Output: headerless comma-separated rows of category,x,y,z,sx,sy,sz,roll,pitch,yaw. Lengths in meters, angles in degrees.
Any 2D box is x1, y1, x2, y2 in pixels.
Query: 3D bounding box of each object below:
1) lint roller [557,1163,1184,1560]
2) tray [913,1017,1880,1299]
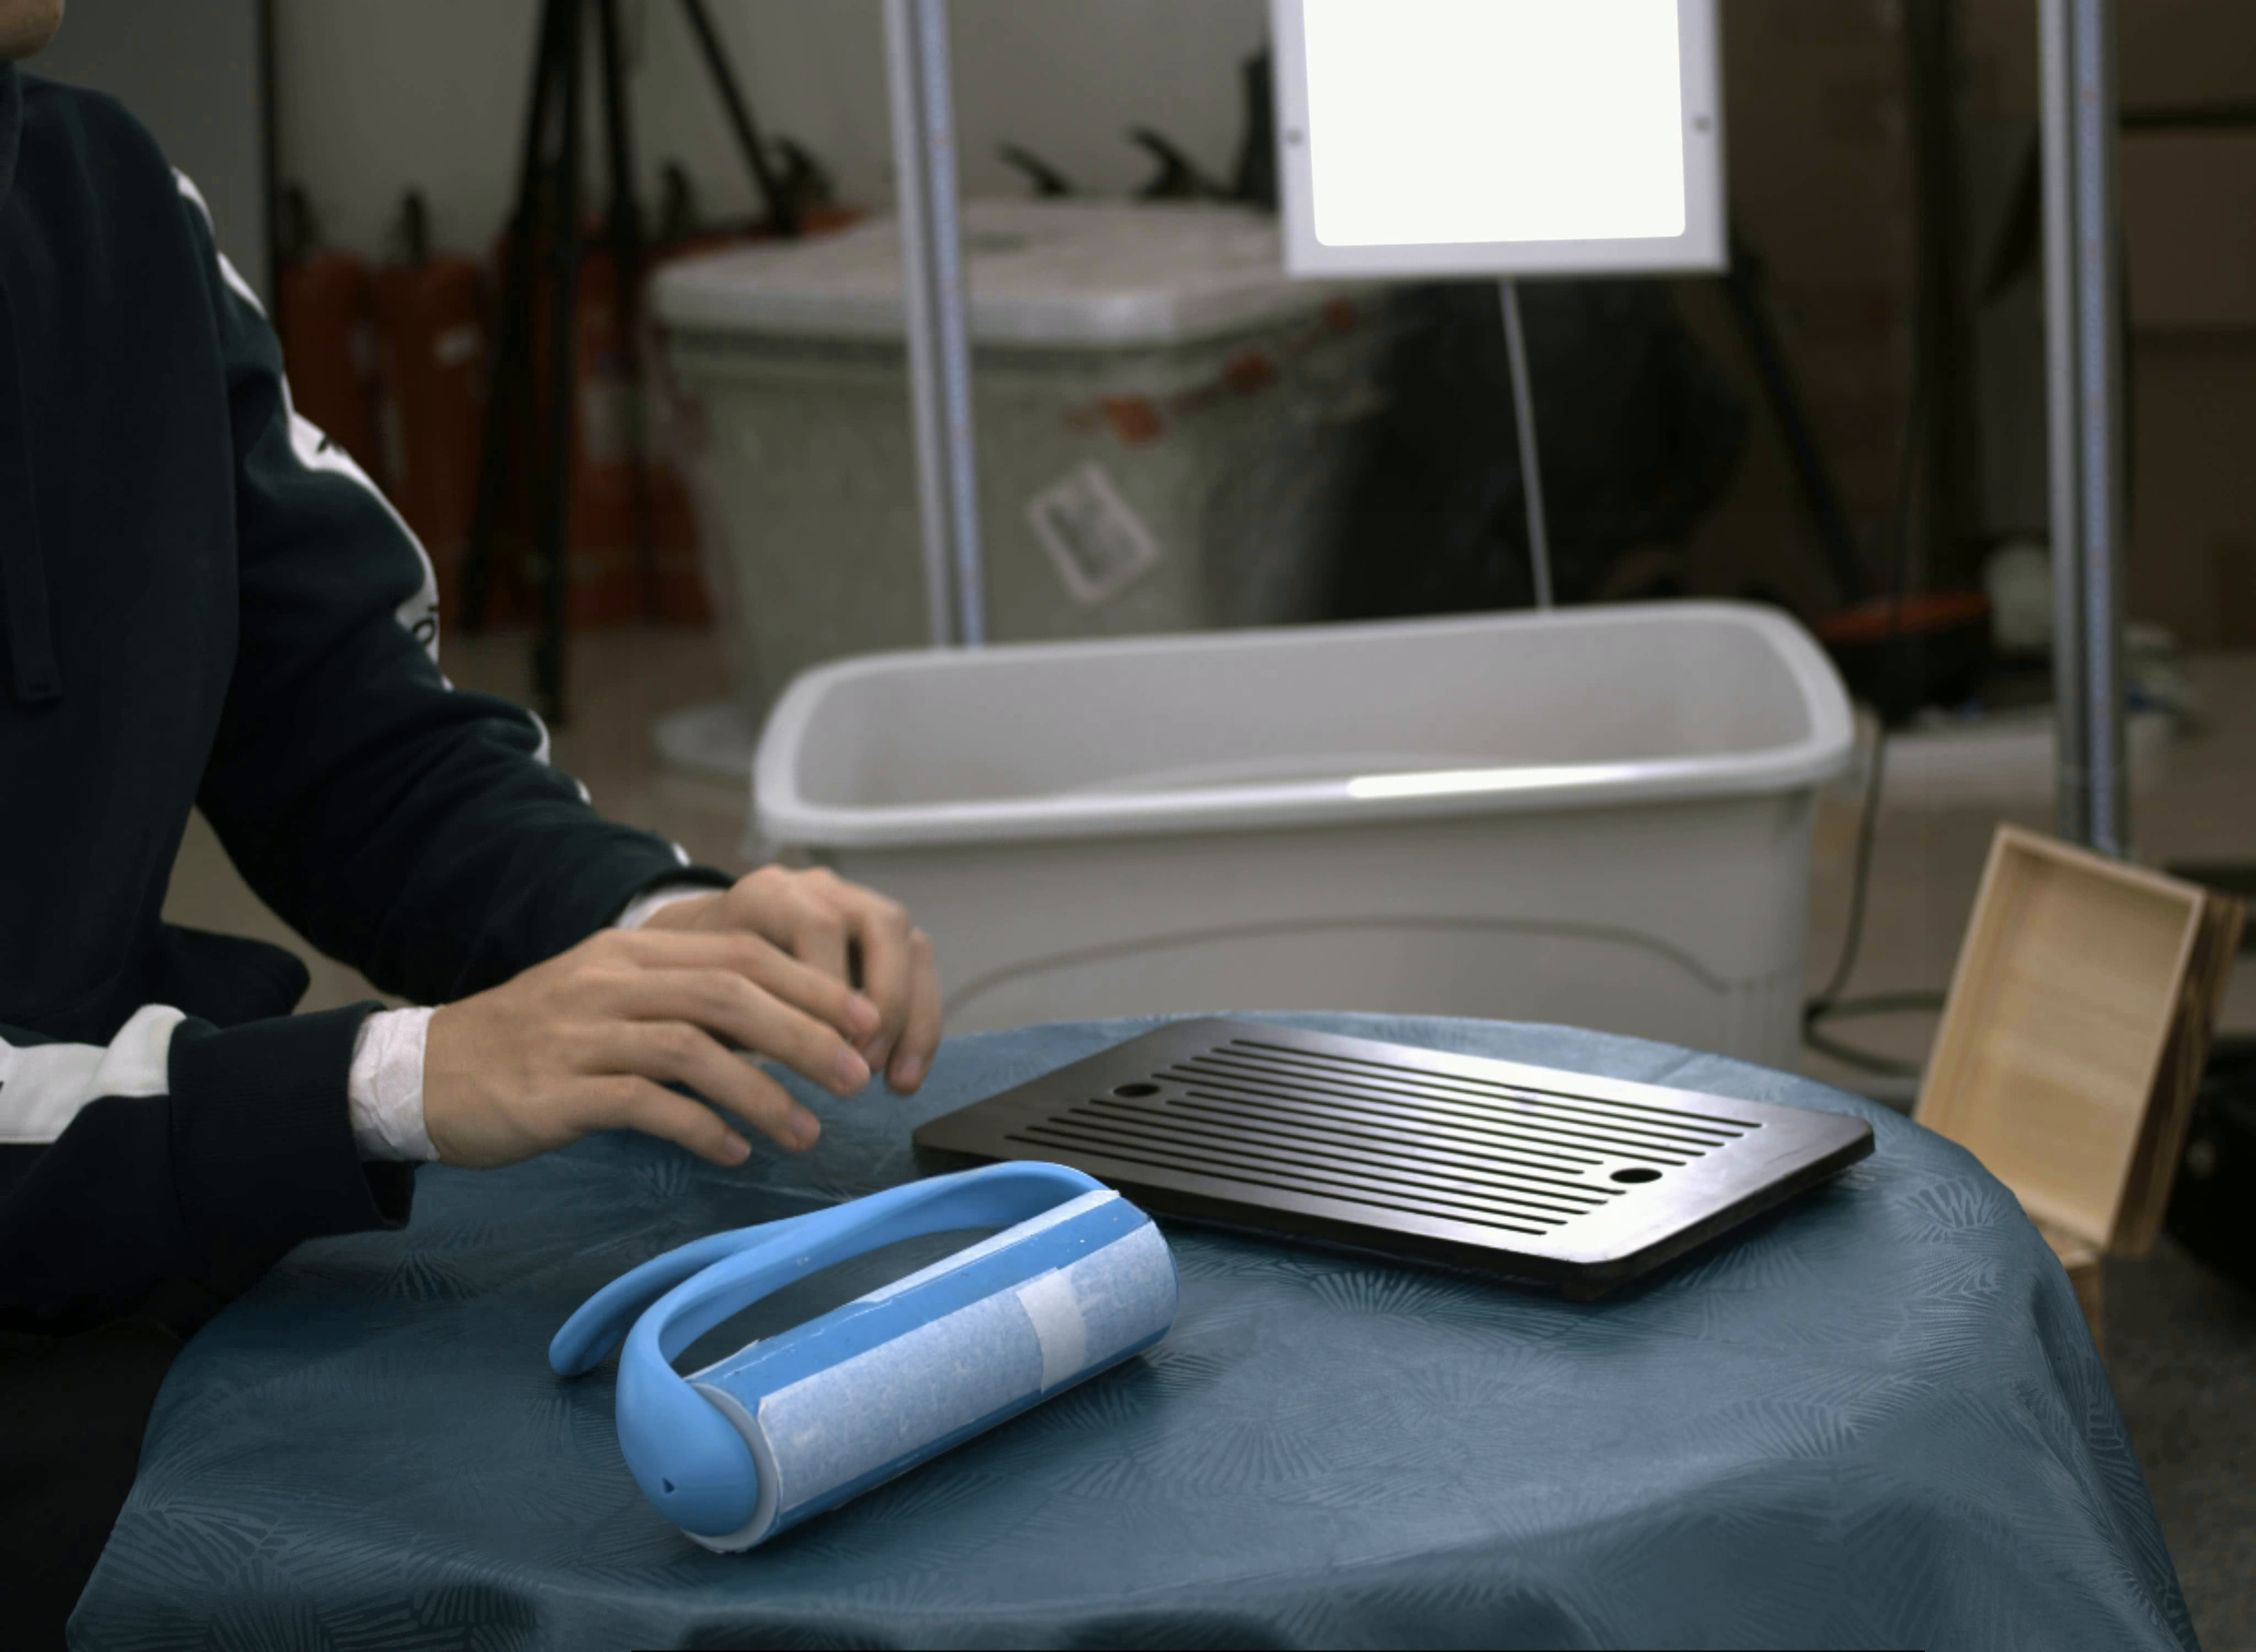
lint roller,-0.109,0.156,1.695,0.184,0.068,0.223,7,20,36
tray,0.090,0.111,1.886,0.312,0.019,0.166,7,18,40
